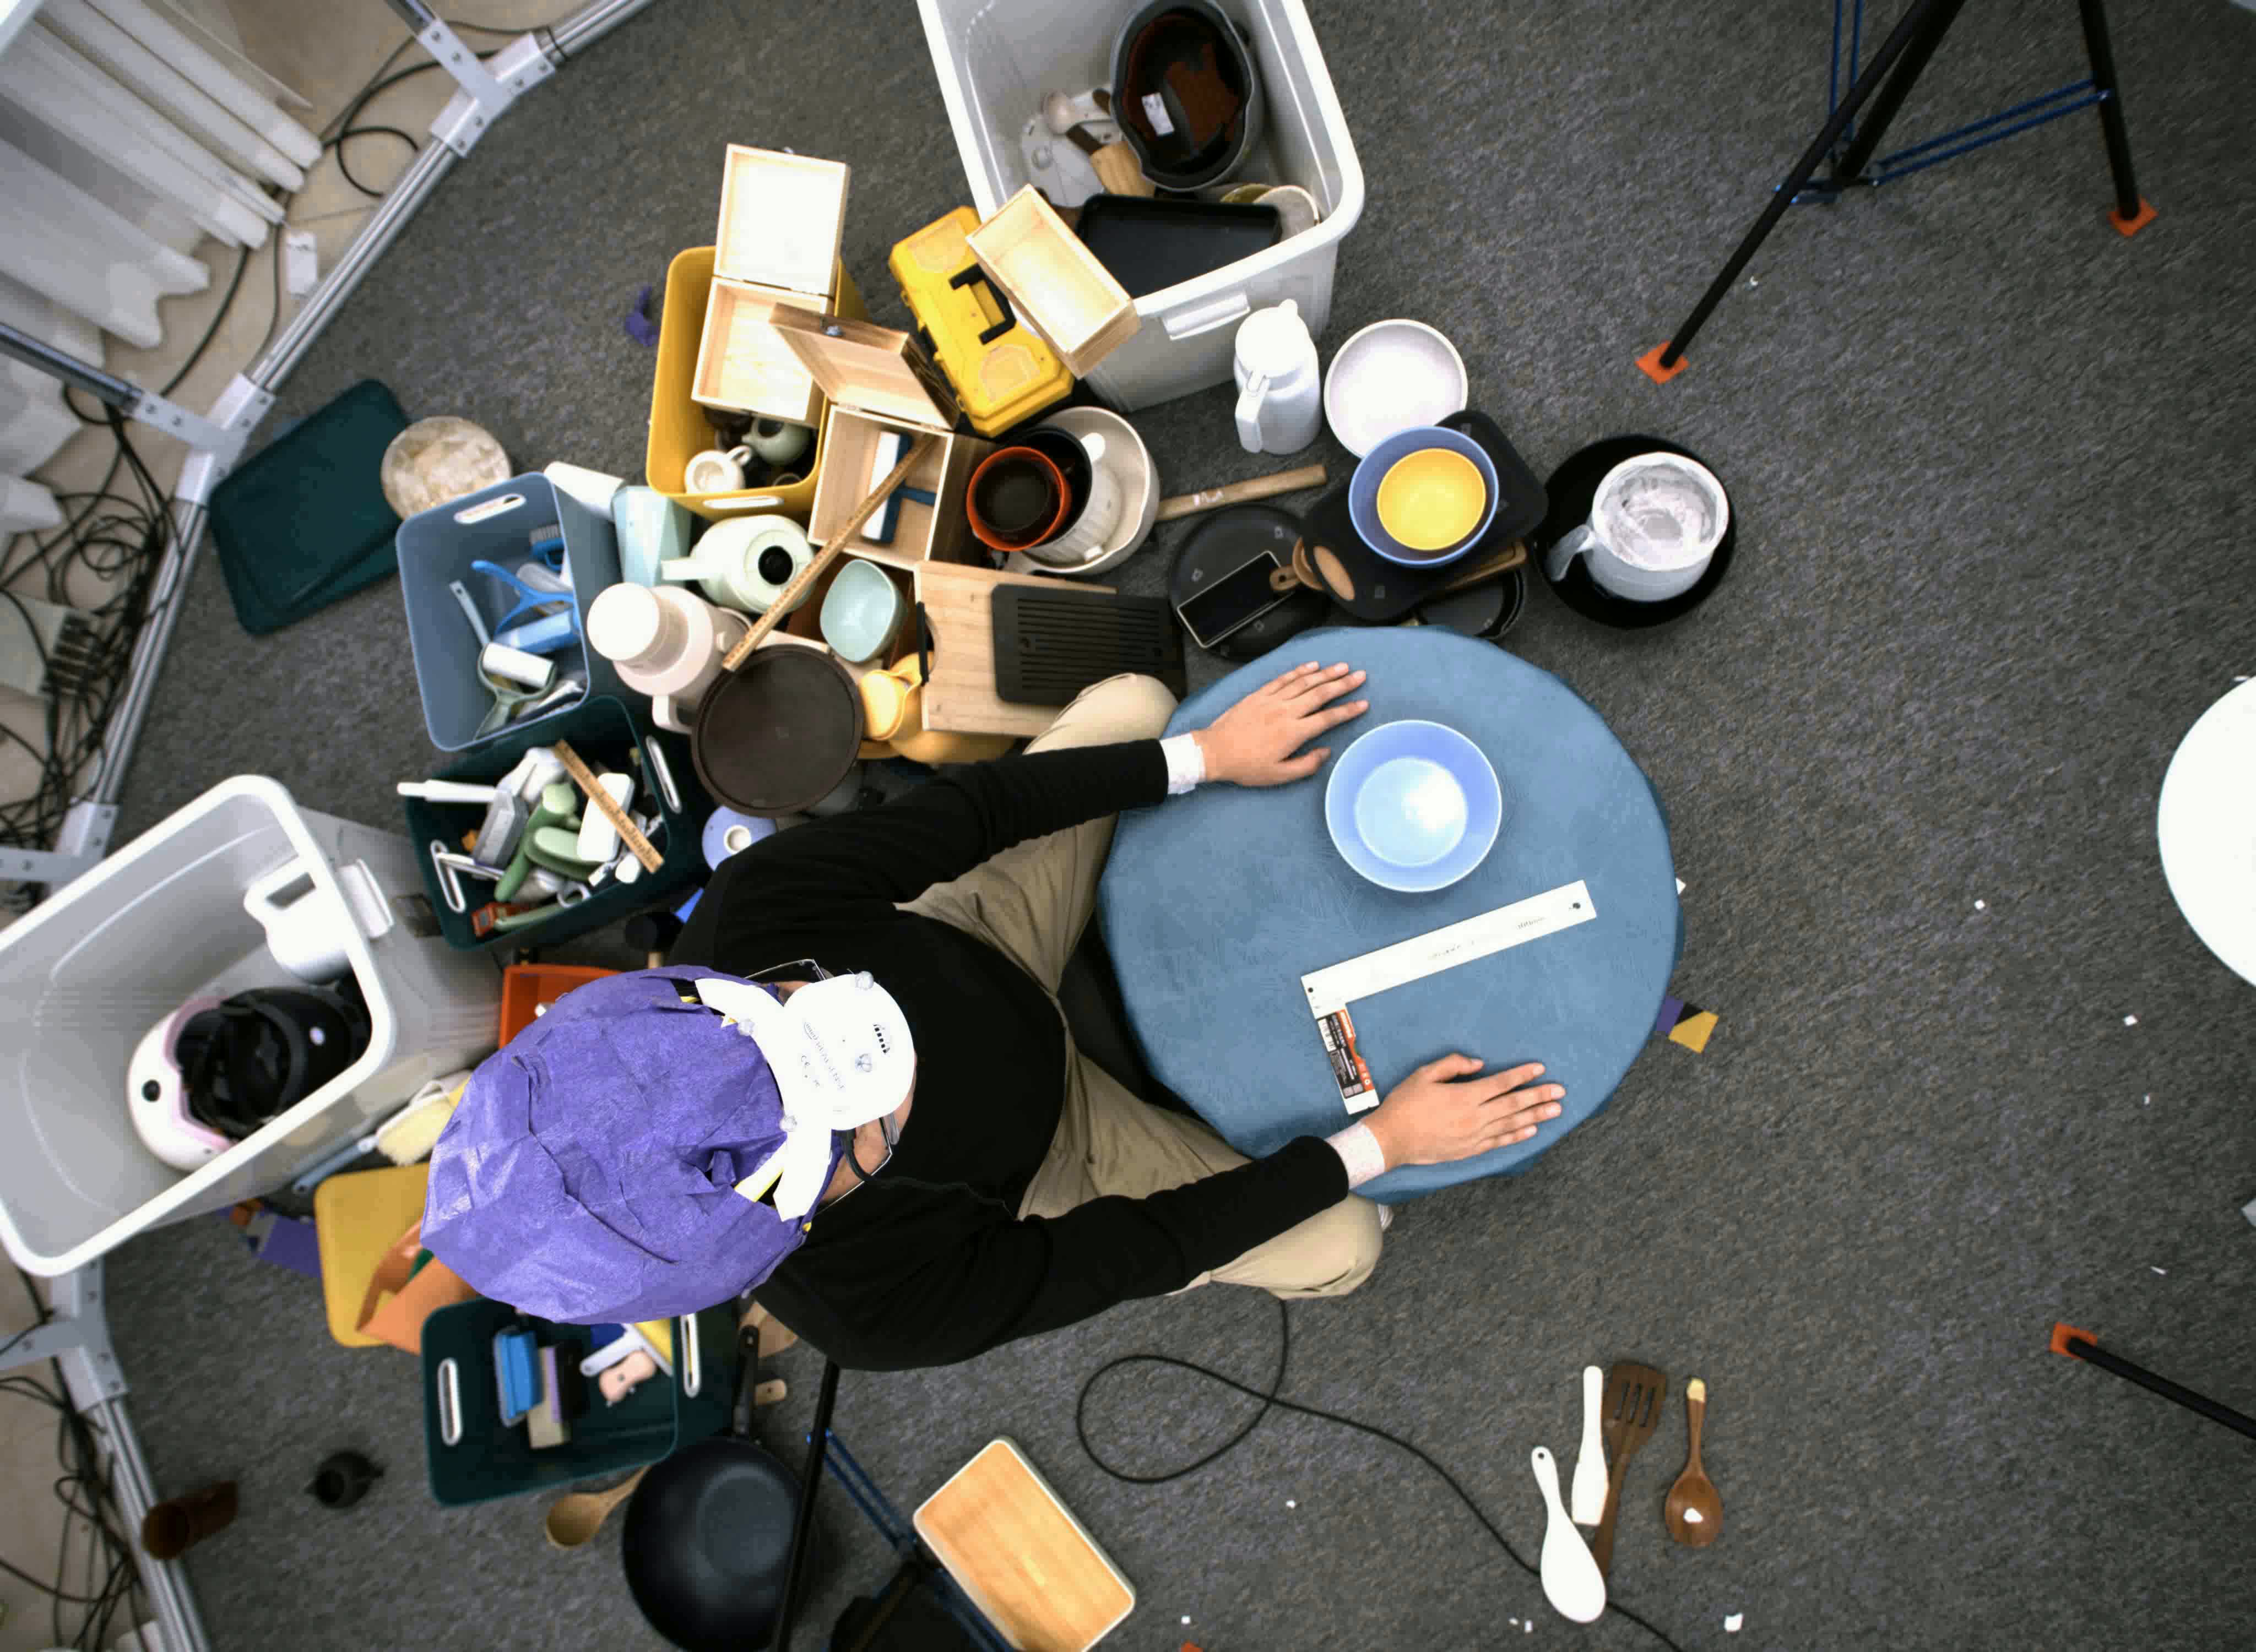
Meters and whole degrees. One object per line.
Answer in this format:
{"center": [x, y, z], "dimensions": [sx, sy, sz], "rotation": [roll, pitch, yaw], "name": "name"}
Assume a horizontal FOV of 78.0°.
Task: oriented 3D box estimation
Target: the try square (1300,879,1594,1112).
{"center": [0.348, 0.176, 1.439], "dimensions": [0.314, 0.016, 0.152], "rotation": [-20, 87, 8], "name": "try square"}

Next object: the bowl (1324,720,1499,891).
{"center": [0.292, -0.019, 1.426], "dimensions": [0.177, 0.070, 0.175], "rotation": [-1, 87, 10], "name": "bowl"}
